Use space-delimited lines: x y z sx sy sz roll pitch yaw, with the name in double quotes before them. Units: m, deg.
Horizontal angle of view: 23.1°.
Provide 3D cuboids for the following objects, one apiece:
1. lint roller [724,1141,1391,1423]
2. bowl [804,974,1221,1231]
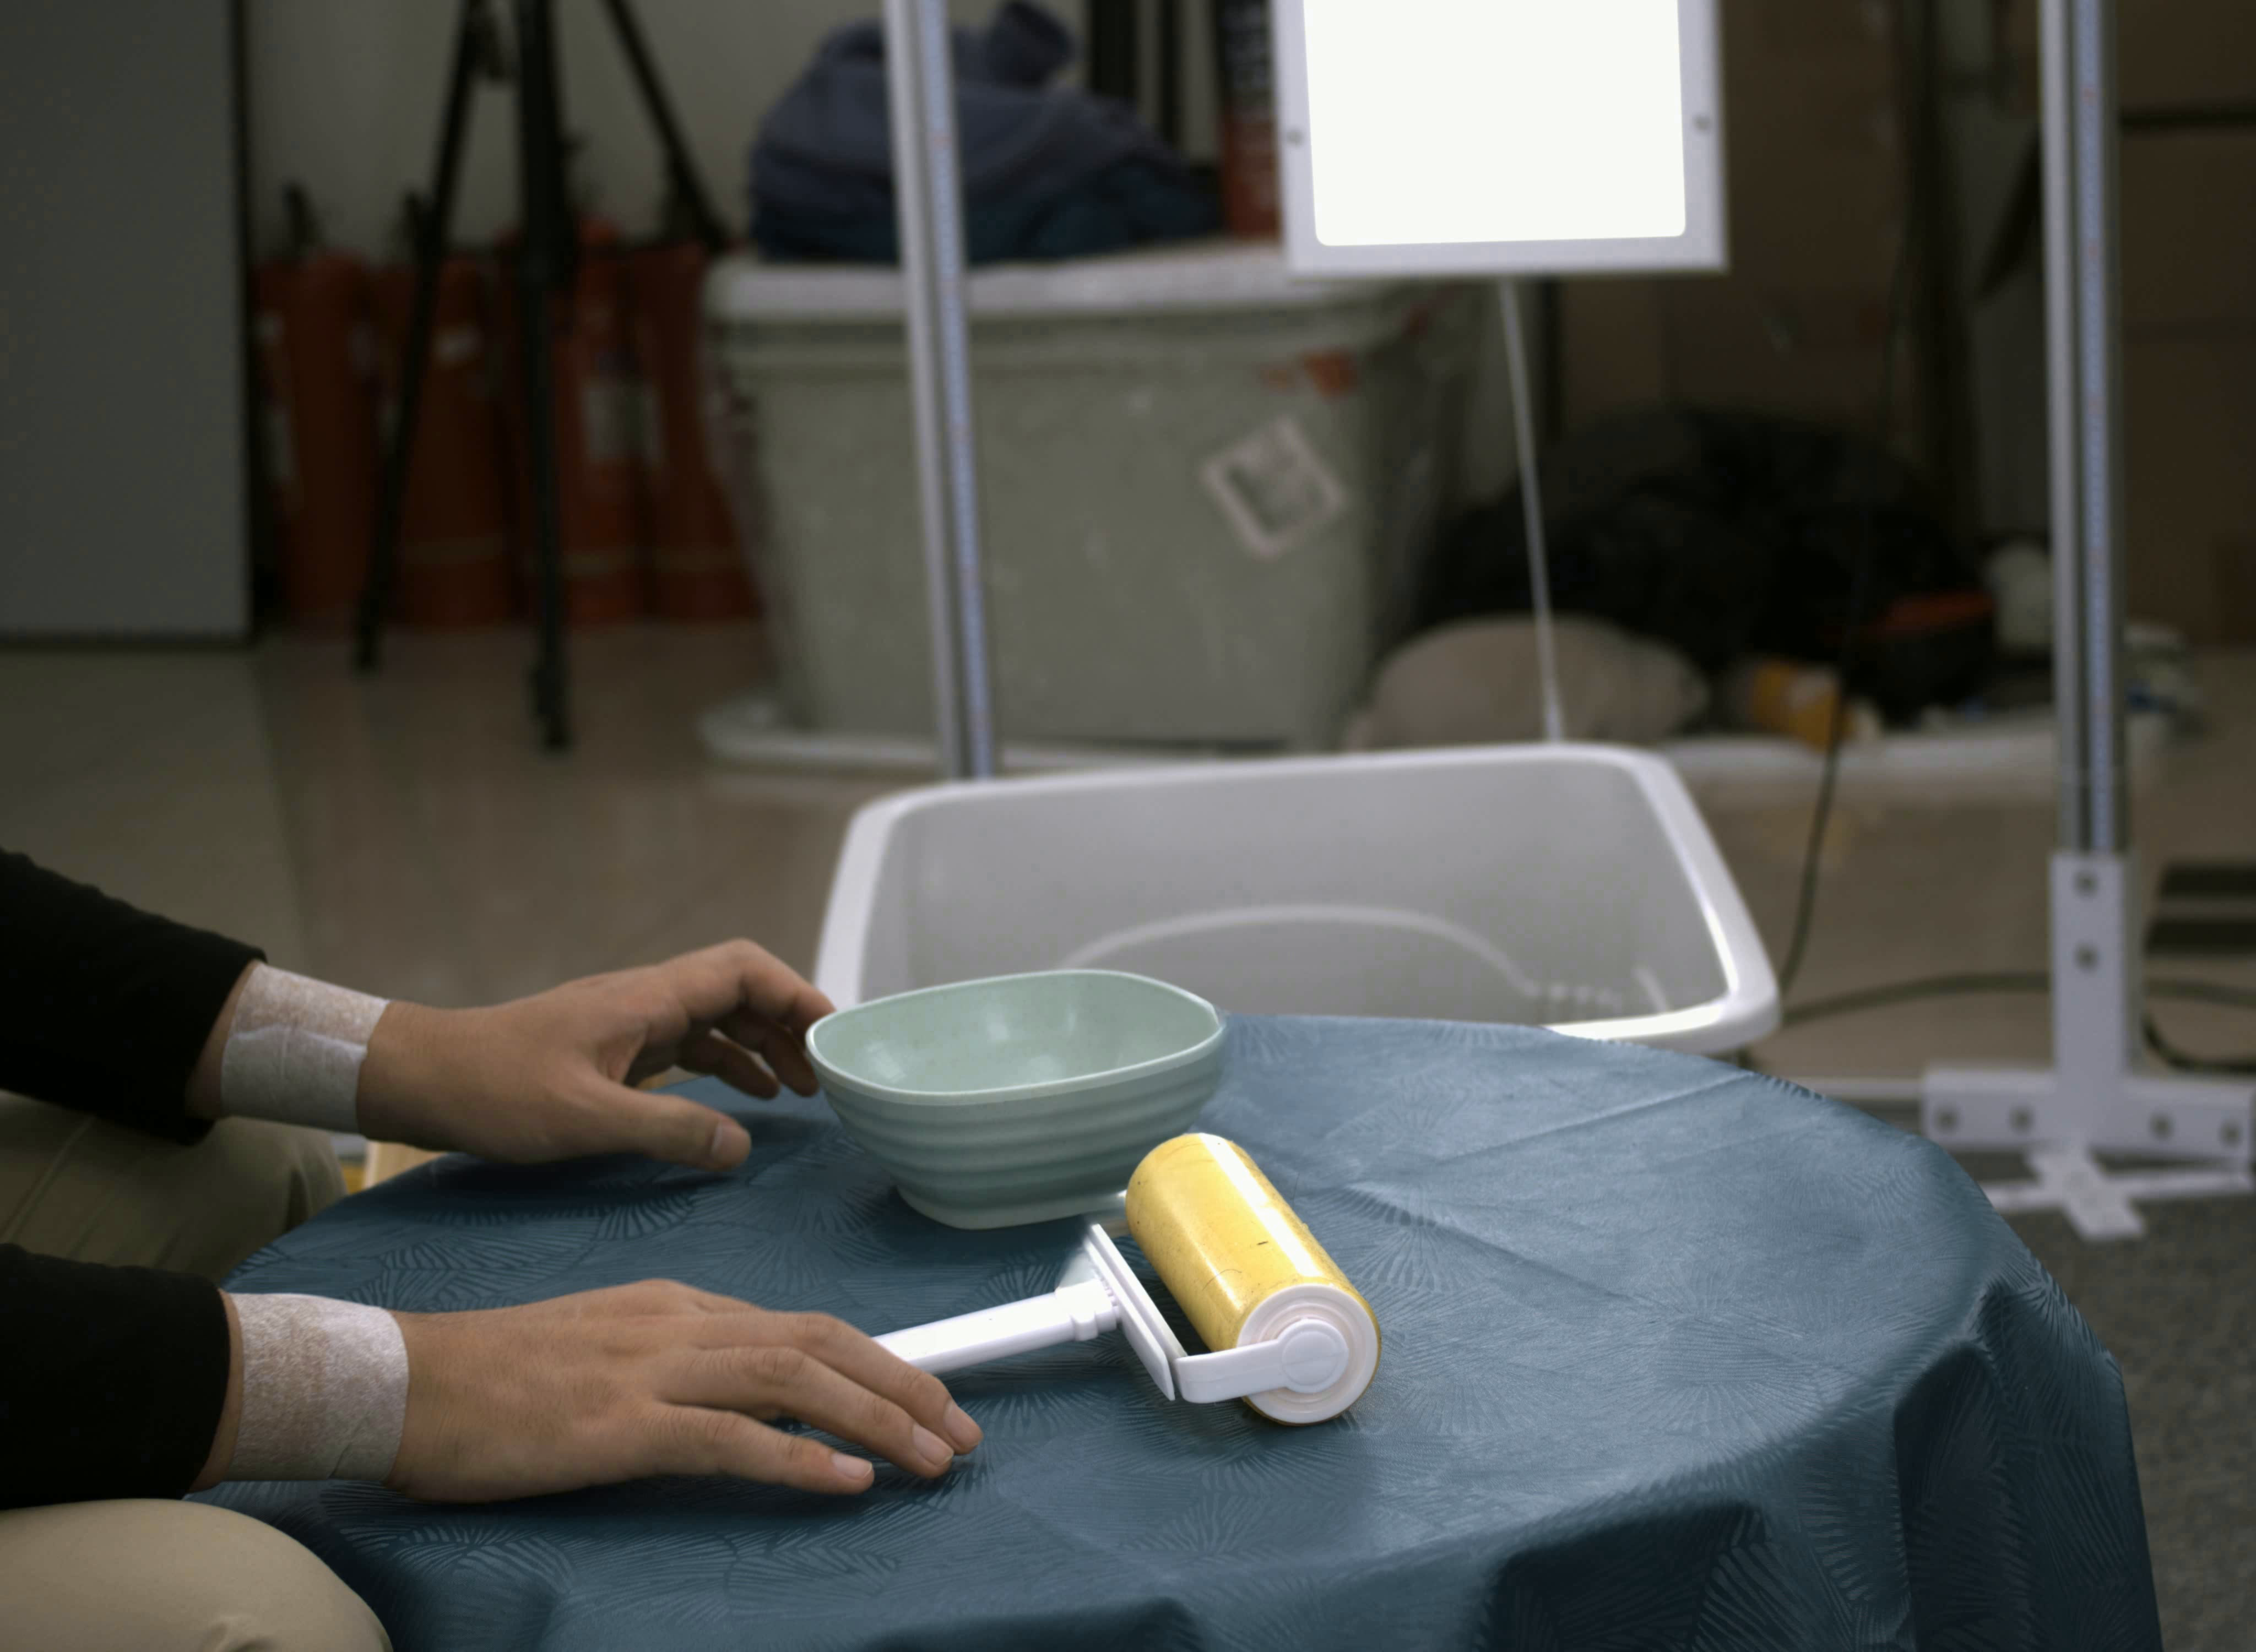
"lint roller" -0.031 0.147 1.715 0.190 0.051 0.175 -3 13 -11
"bowl" -0.039 0.098 1.908 0.151 0.059 0.151 -3 14 -1
